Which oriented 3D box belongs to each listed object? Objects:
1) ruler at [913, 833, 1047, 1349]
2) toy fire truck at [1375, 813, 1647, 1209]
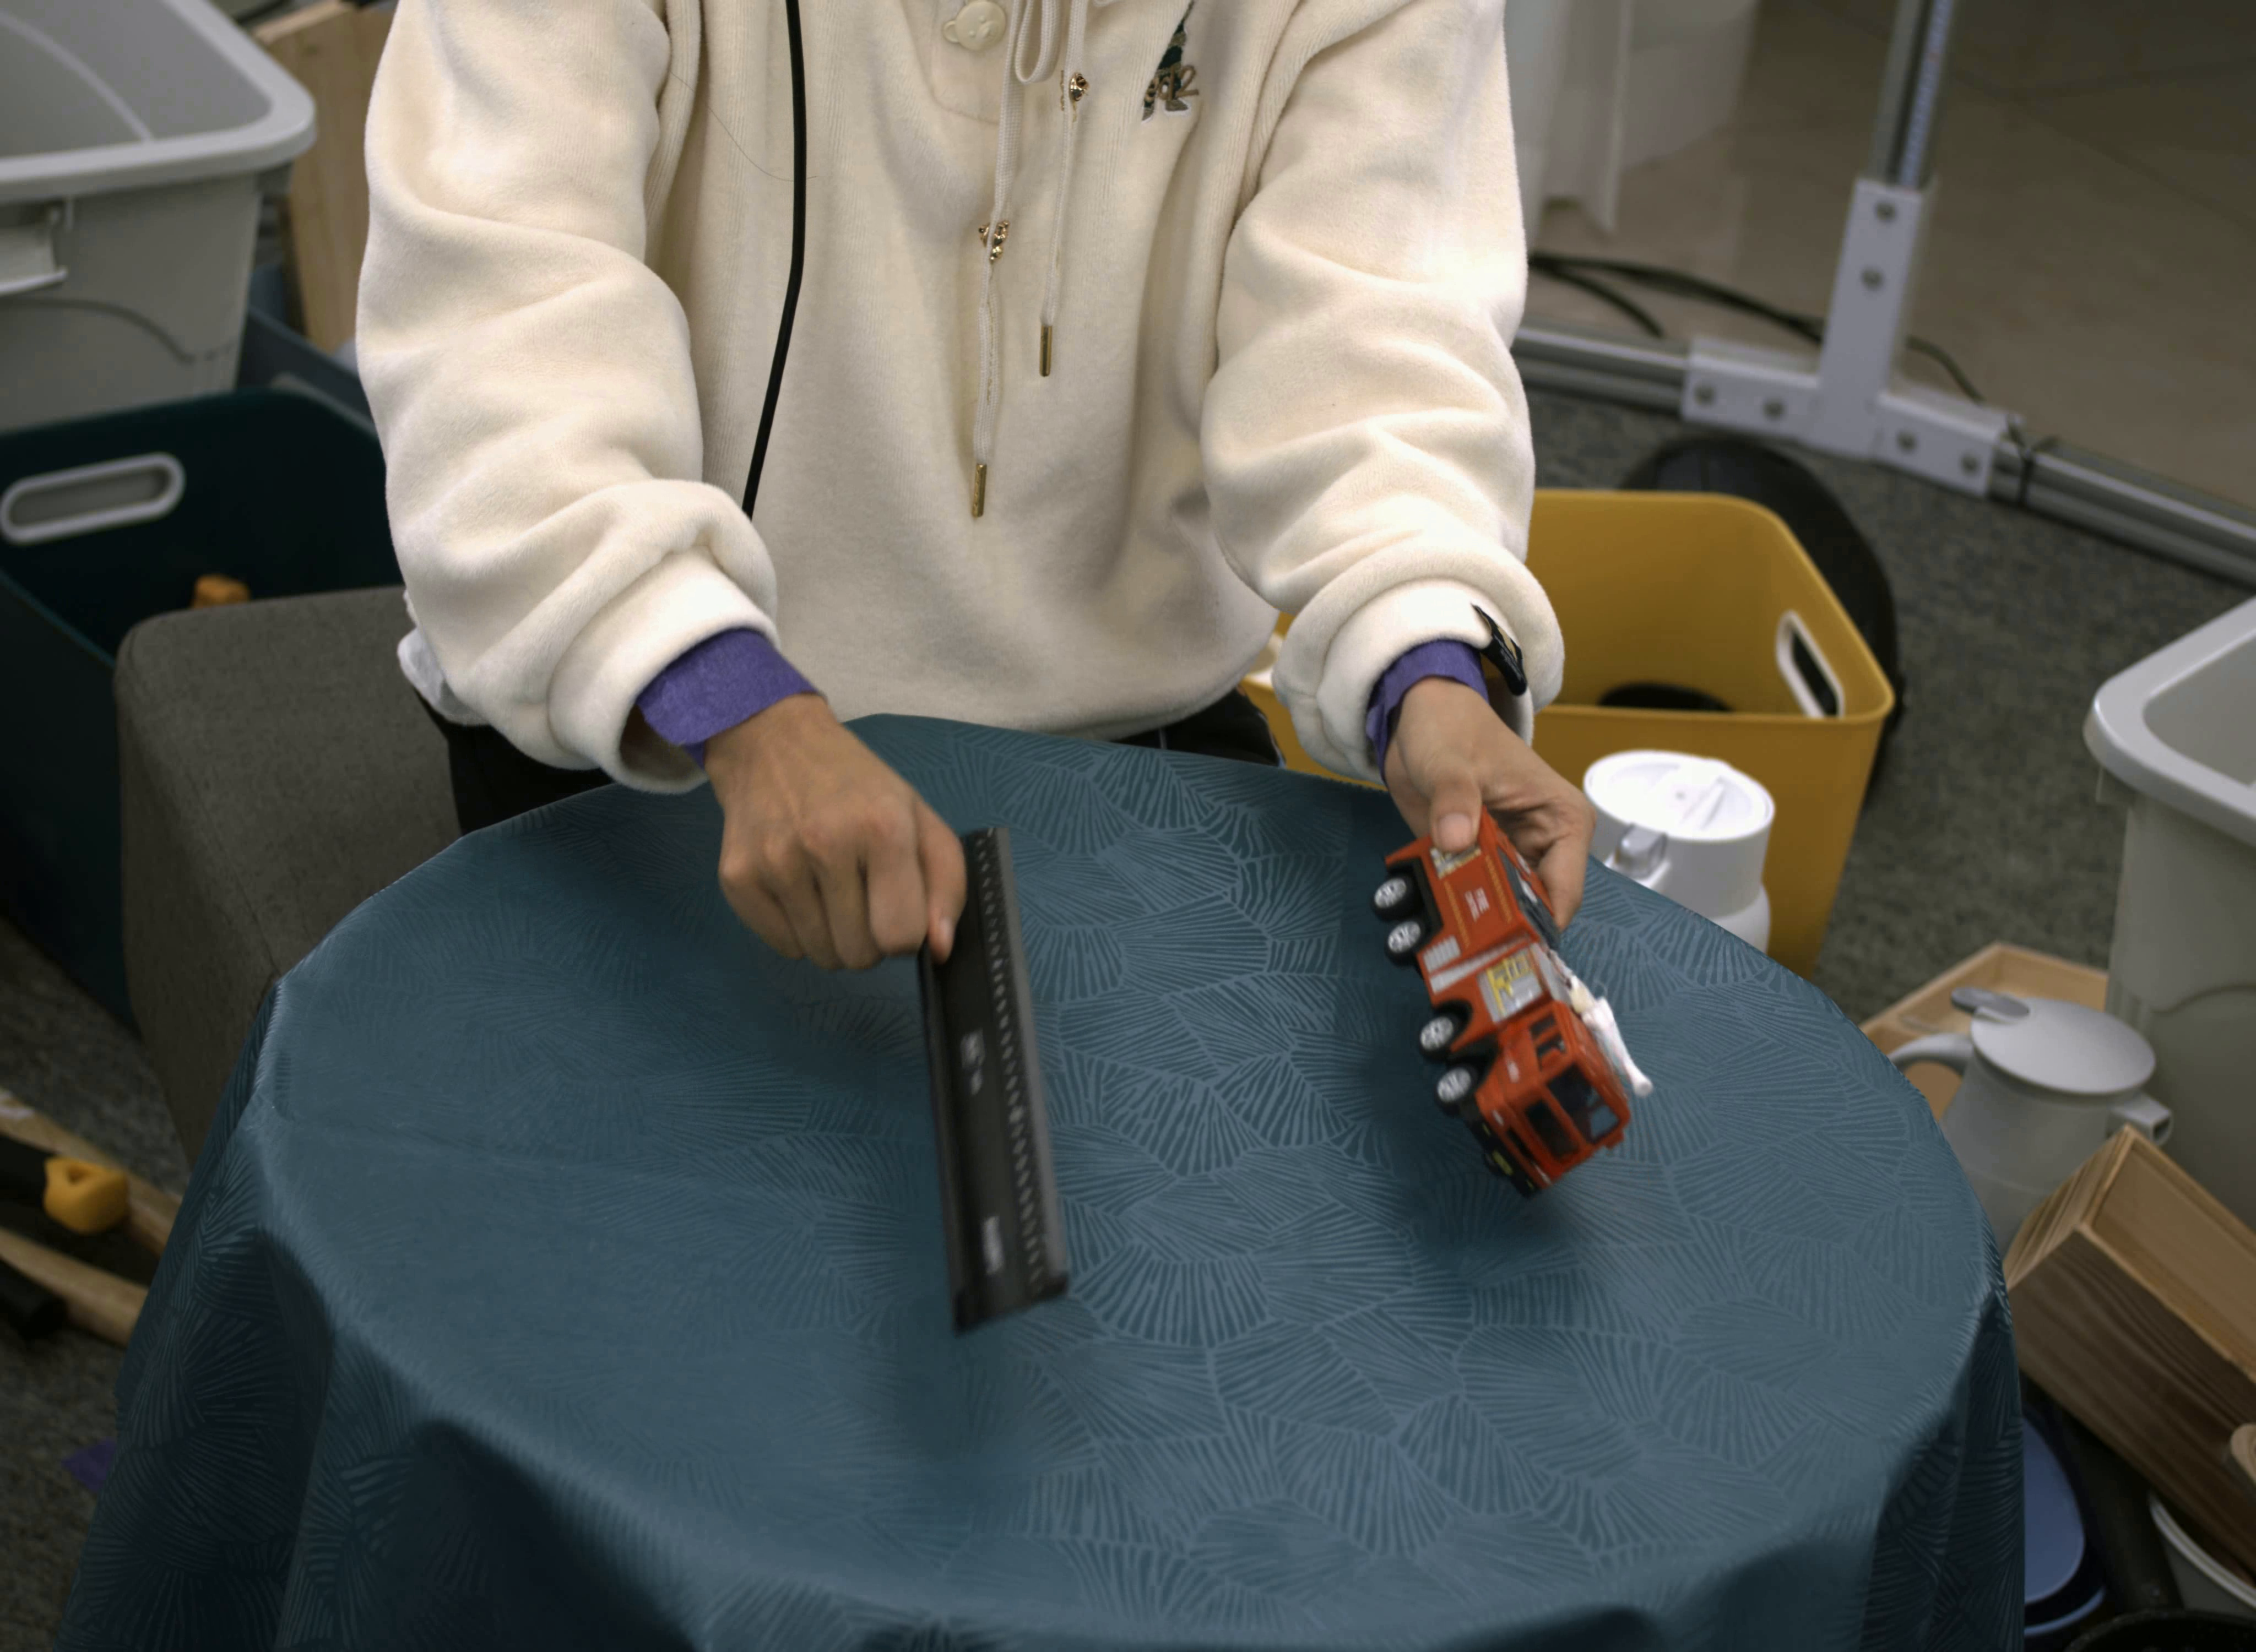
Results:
[{"bbox_3d":[-0.052,0.076,1.762,0.039,0.017,0.314,-18,27,6],"label":"ruler"},{"bbox_3d":[0.132,0.063,1.839,0.070,0.053,0.169,-36,31,12],"label":"toy fire truck"}]
